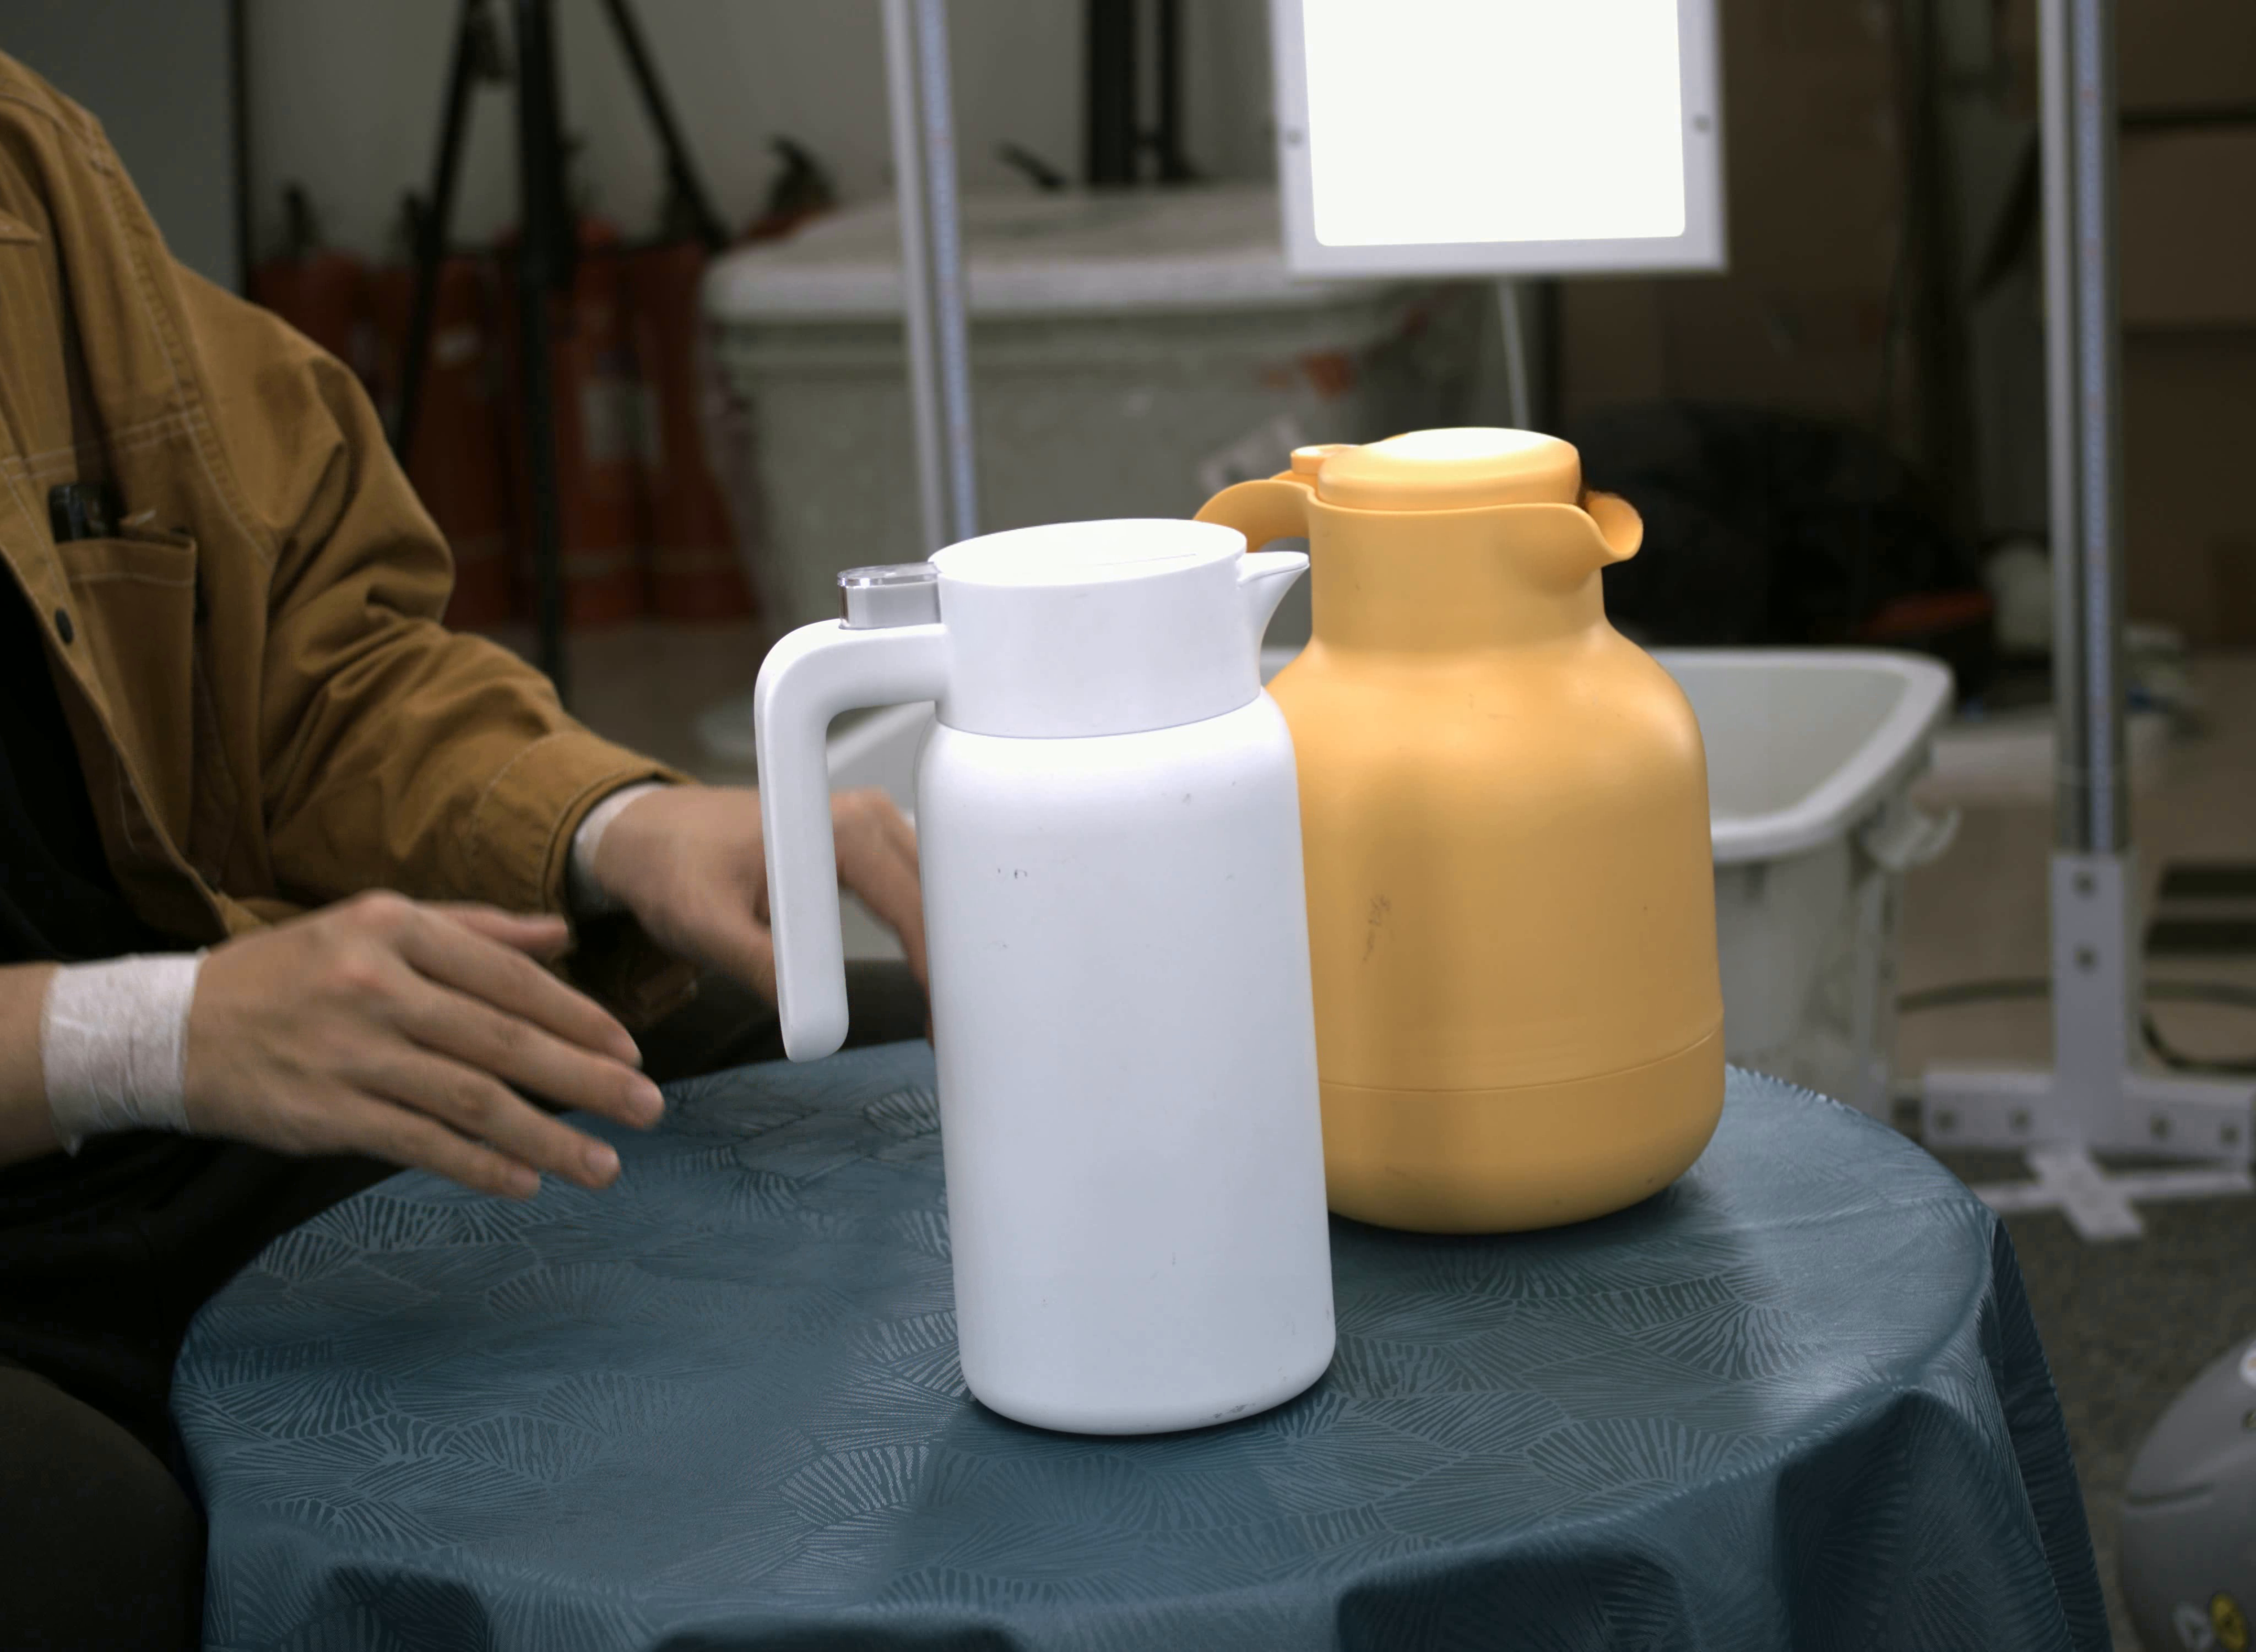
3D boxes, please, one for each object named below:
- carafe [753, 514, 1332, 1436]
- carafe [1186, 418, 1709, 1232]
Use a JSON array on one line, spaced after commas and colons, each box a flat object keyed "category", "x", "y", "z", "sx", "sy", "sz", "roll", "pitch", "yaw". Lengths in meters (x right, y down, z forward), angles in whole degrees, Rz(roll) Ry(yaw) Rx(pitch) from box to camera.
[{"category": "carafe", "x": -0.020, "y": 0.046, "z": 1.674, "sx": 0.171, "sy": 0.270, "sz": 0.124, "roll": -7, "pitch": 16, "yaw": -8}, {"category": "carafe", "x": 0.100, "y": -0.007, "z": 1.852, "sx": 0.159, "sy": 0.261, "sz": 0.207, "roll": -13, "pitch": 17, "yaw": -41}]
